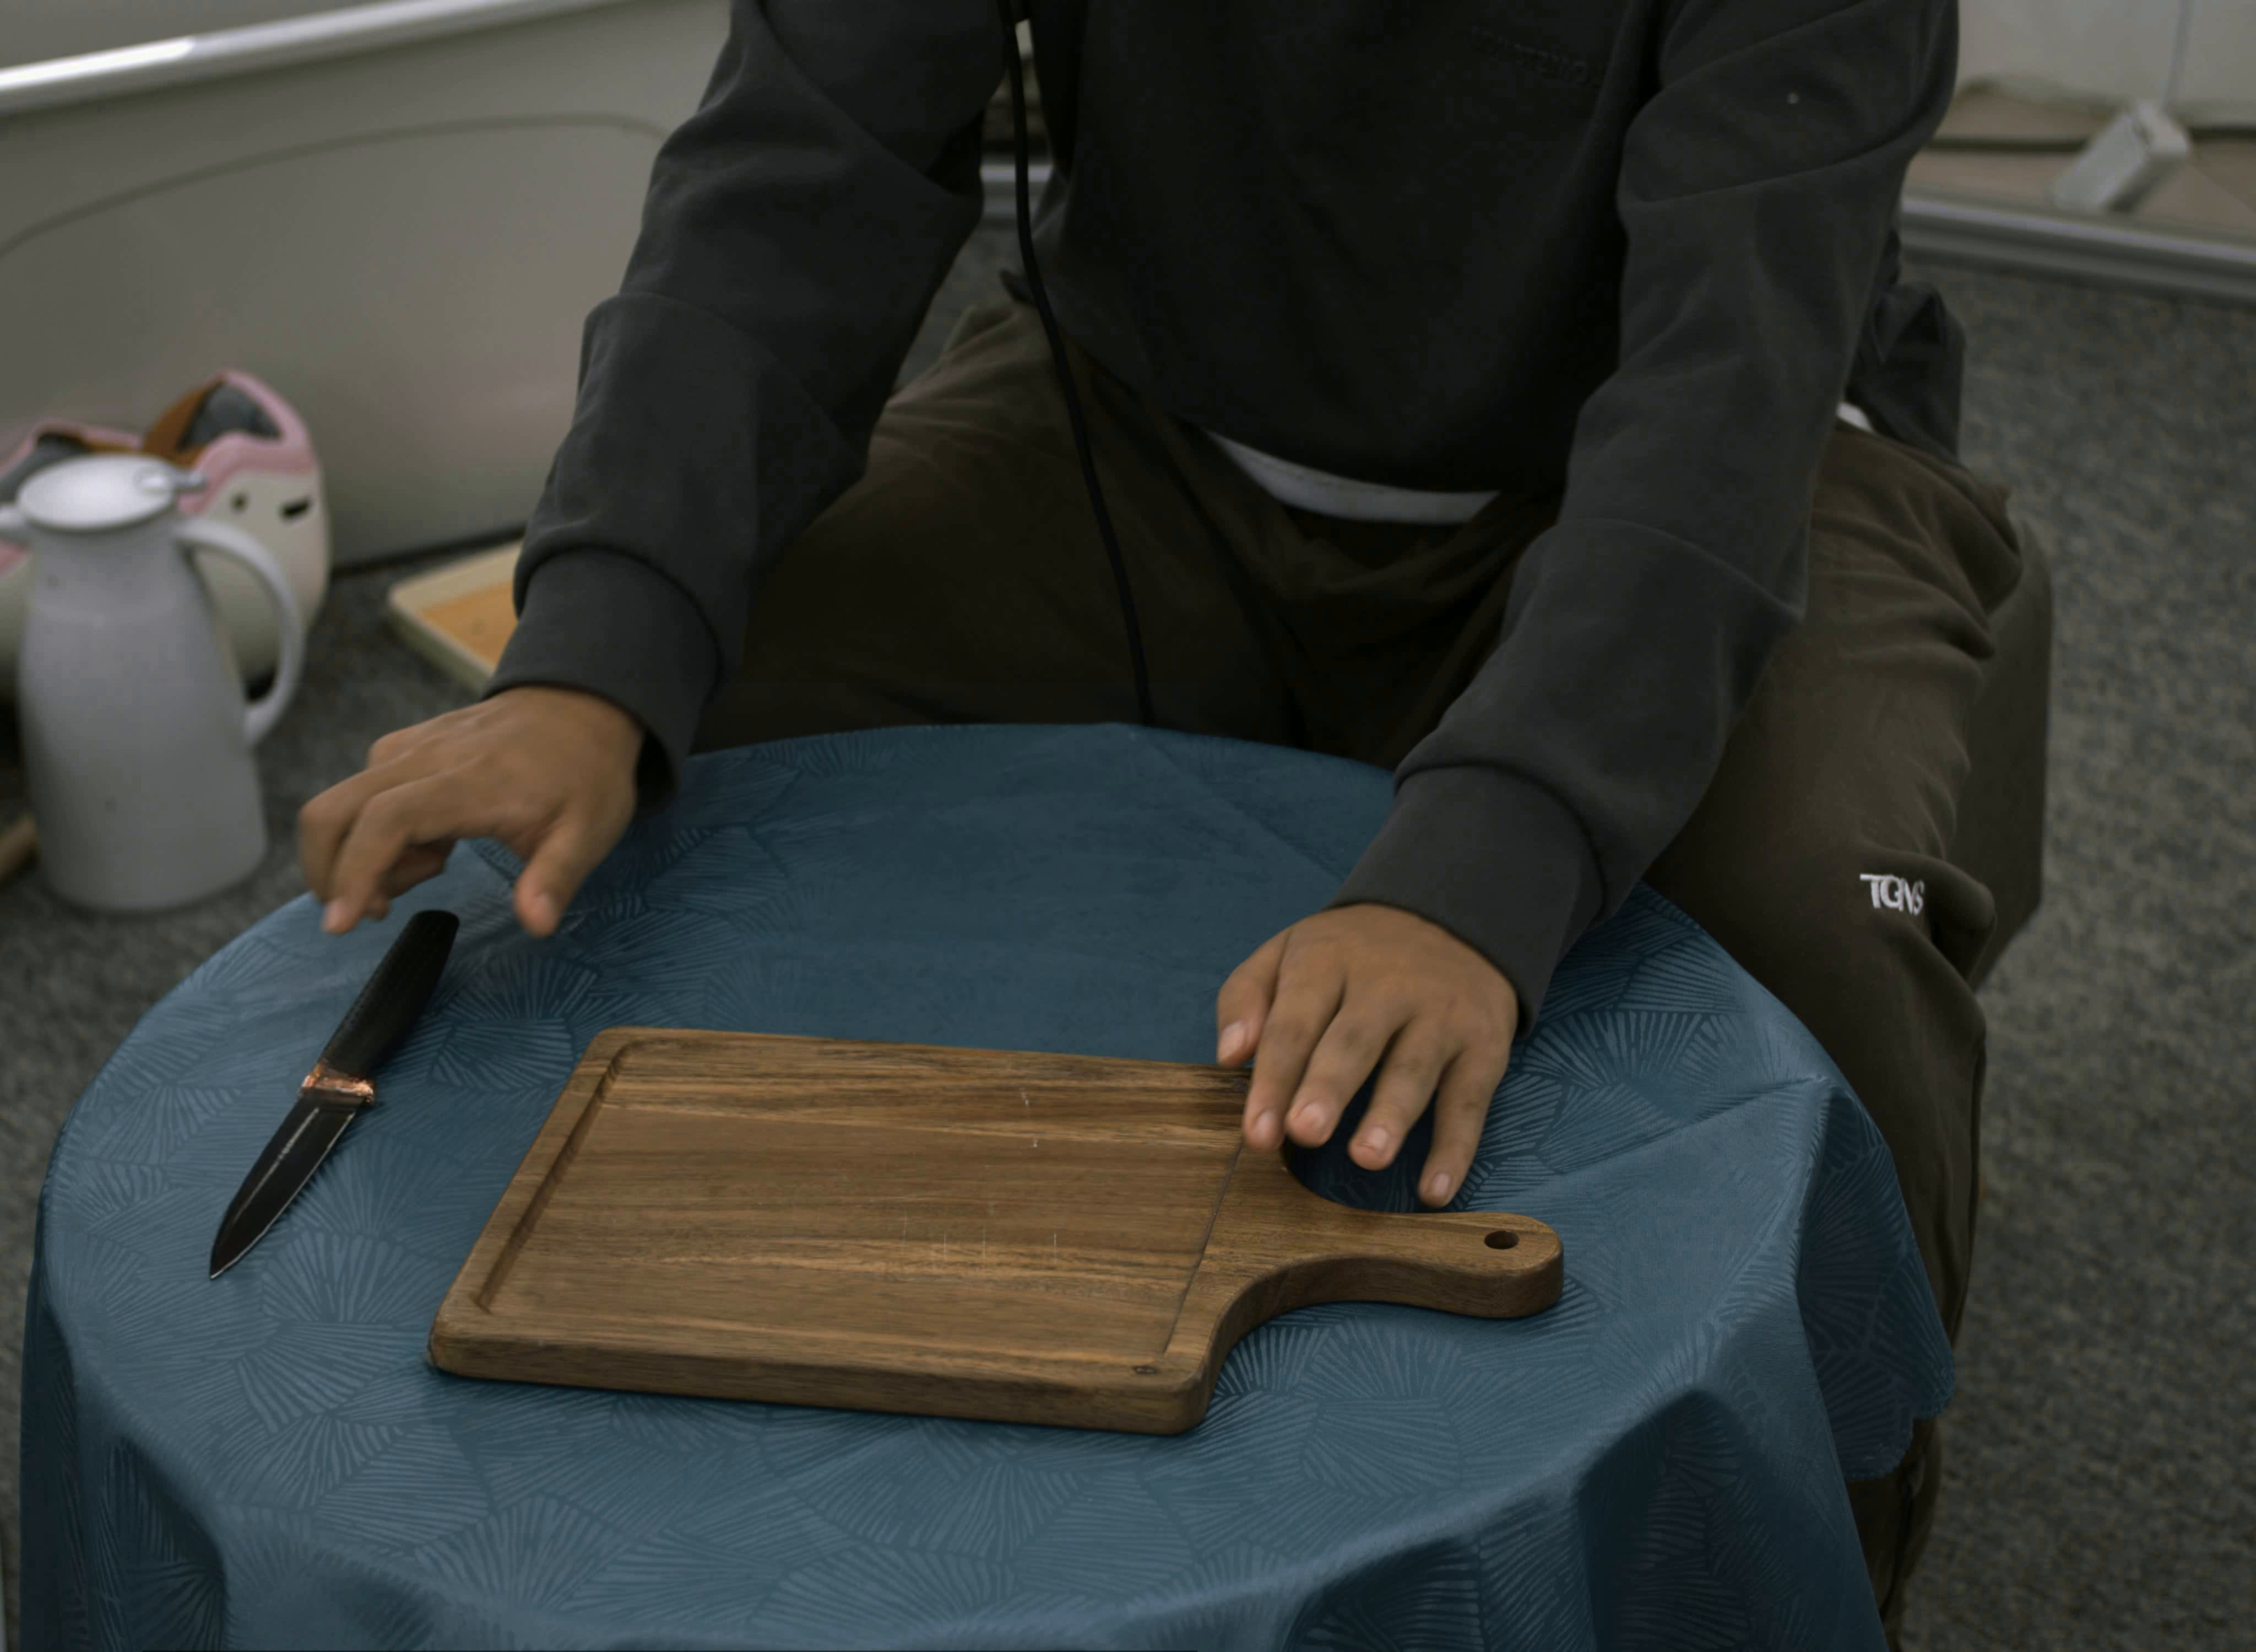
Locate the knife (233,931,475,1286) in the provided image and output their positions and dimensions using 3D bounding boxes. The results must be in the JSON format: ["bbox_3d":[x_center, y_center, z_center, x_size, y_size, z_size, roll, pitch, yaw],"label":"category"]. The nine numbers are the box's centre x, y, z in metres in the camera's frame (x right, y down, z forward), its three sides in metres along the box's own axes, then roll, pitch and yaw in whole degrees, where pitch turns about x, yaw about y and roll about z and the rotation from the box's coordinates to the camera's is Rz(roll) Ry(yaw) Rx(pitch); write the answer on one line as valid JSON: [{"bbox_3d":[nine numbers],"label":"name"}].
[{"bbox_3d":[-0.269,0.096,1.928,0.026,0.017,0.229,9,30,11],"label":"knife"}]

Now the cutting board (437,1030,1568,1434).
[{"bbox_3d":[-0.032,0.132,1.826,0.350,0.023,0.204,3,28,11],"label":"cutting board"}]
